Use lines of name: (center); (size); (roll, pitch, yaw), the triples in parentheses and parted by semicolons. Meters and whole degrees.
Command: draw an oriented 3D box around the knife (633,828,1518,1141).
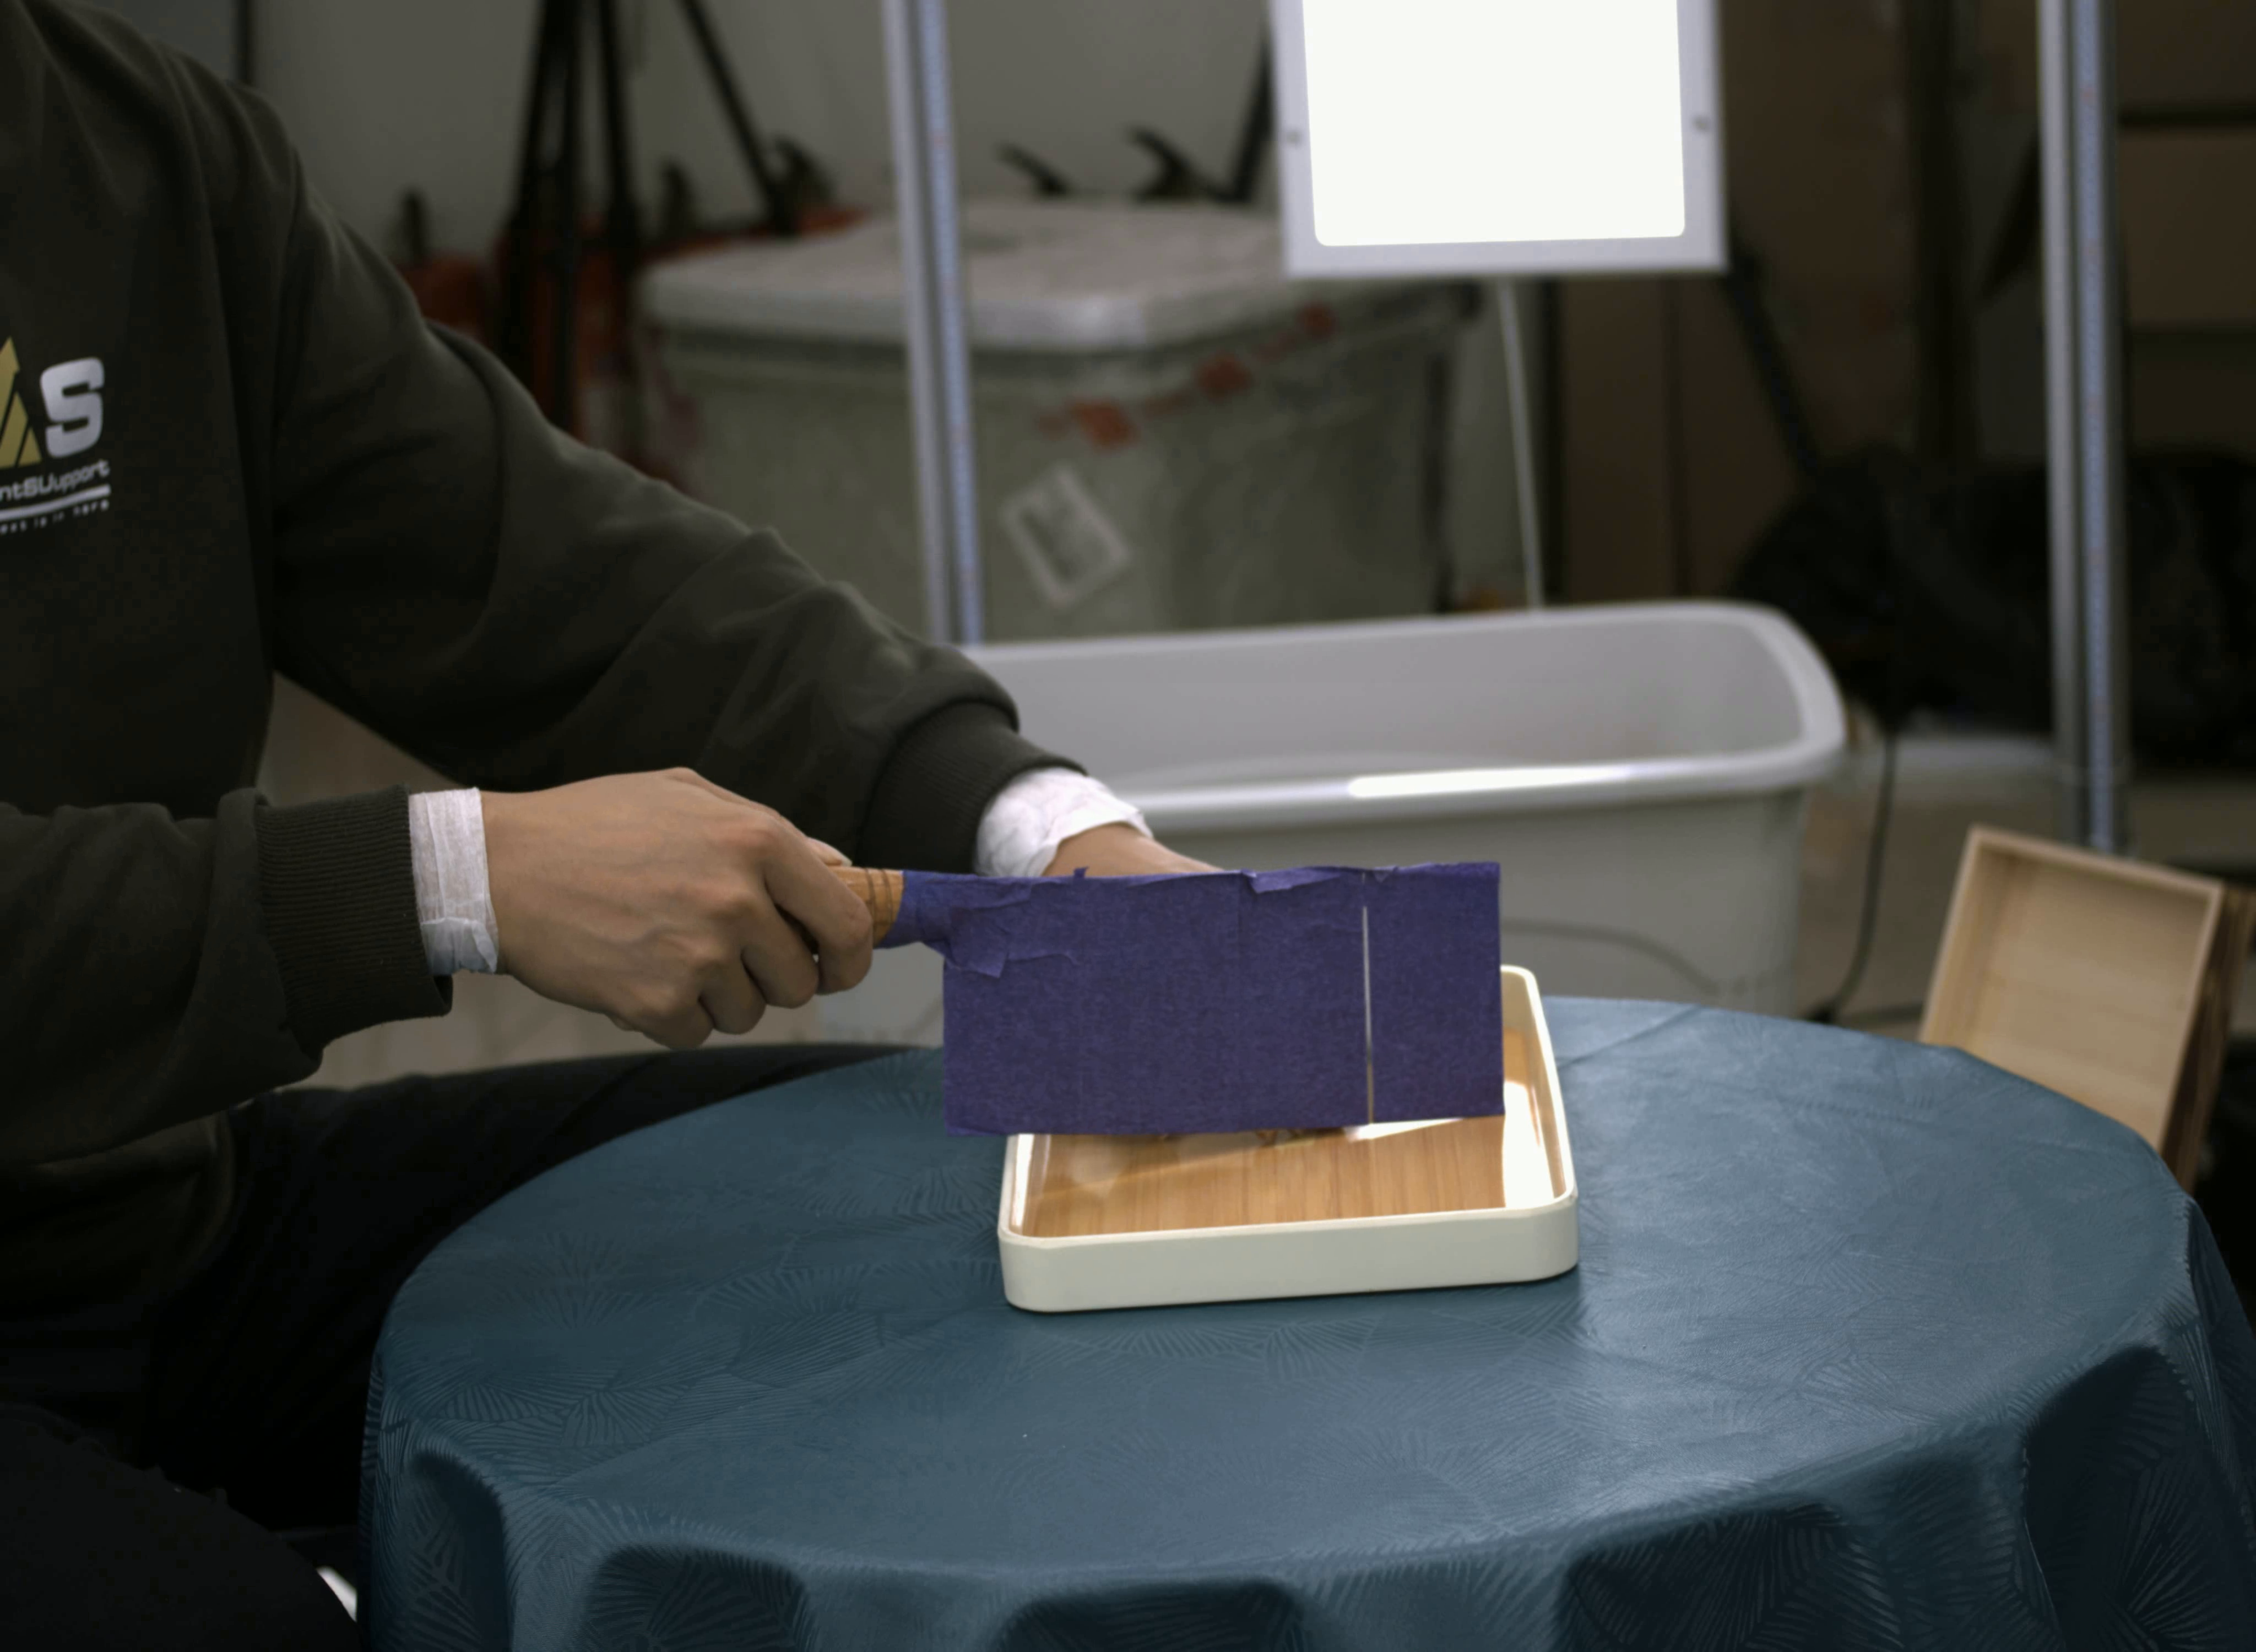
knife: (-0.012, 0.059, 1.889); (0.311, 0.104, 0.032); (-2, 3, -13)

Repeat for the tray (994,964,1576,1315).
tray: (0.054, 0.105, 1.914); (0.192, 0.027, 0.299); (-5, 14, 3)
